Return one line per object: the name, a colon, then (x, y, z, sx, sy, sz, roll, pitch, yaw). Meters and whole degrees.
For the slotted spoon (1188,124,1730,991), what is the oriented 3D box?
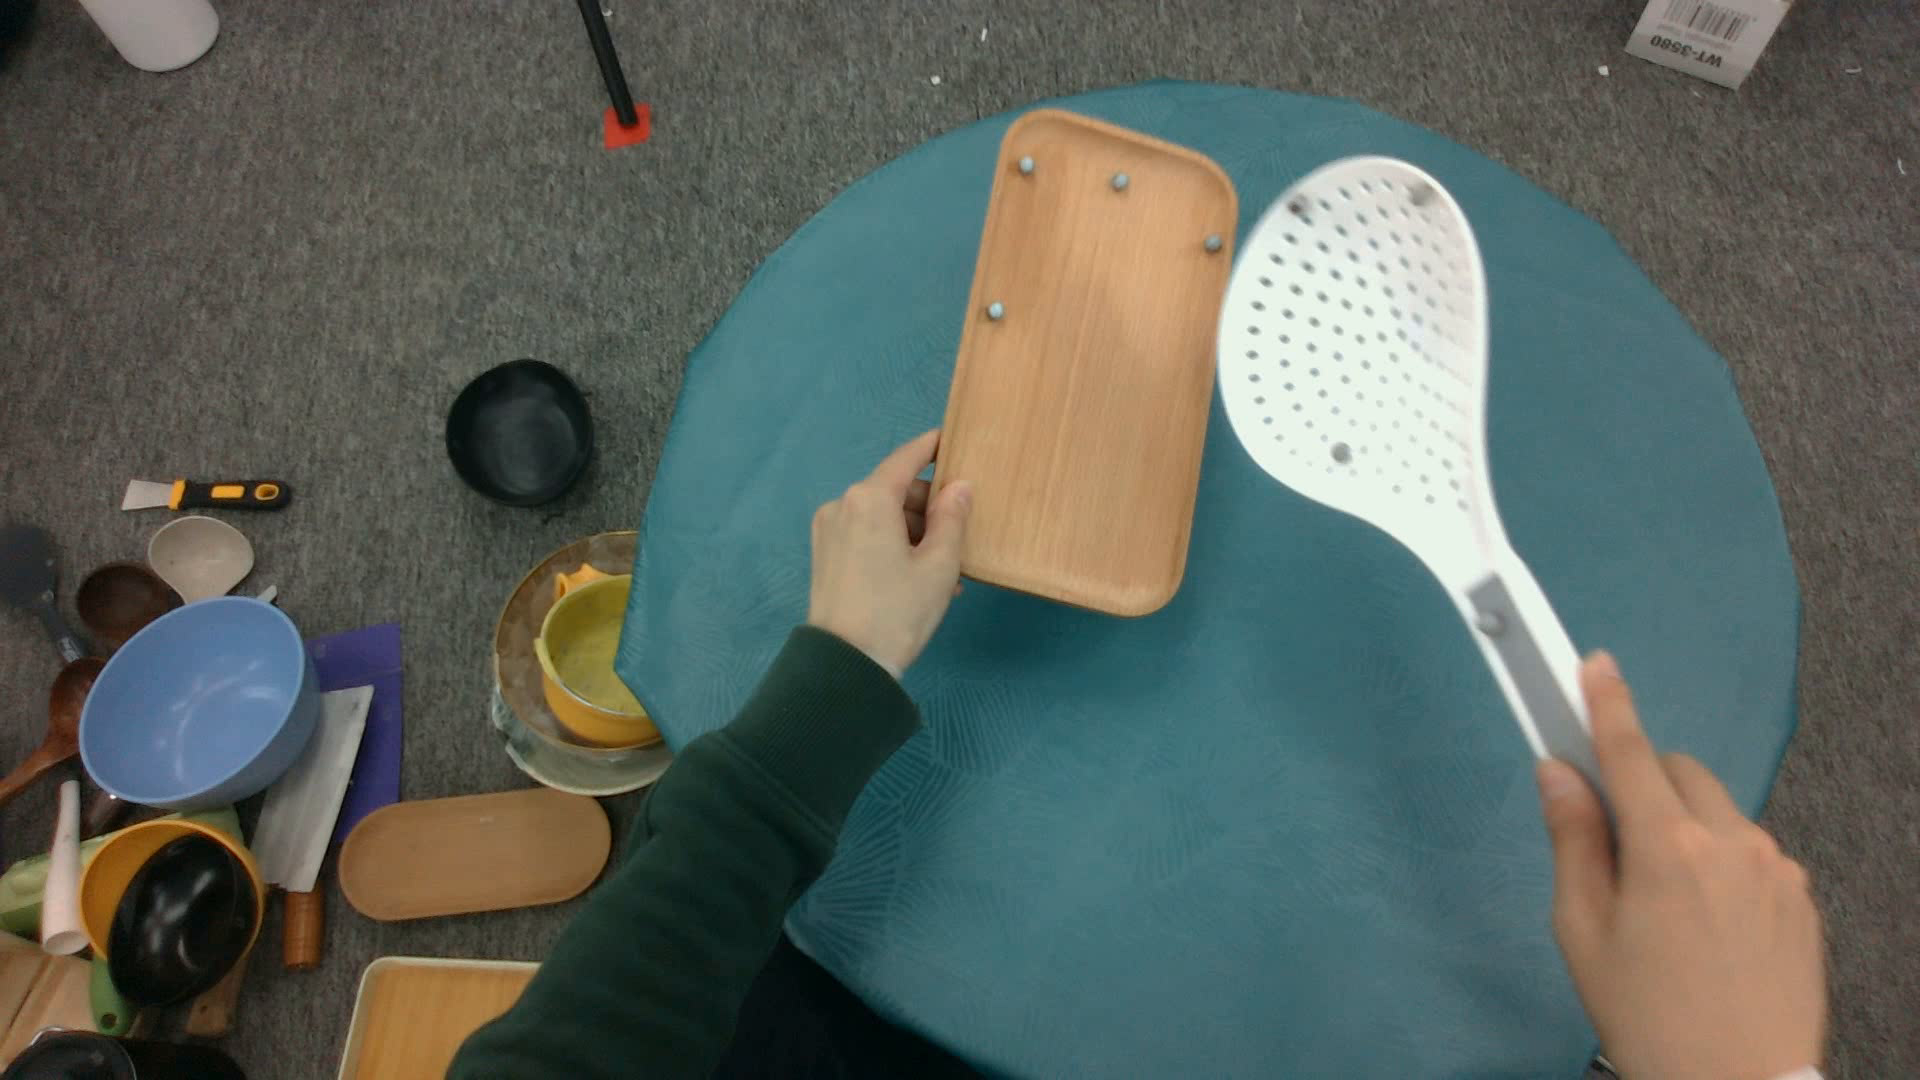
slotted spoon: (0.177, -0.008, 0.512, 0.046, 0.135, 0.351, 1, 56, -28)

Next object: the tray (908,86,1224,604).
tray: (0.055, -0.097, 0.666, 0.130, 0.023, 0.251, 14, 75, -9)
